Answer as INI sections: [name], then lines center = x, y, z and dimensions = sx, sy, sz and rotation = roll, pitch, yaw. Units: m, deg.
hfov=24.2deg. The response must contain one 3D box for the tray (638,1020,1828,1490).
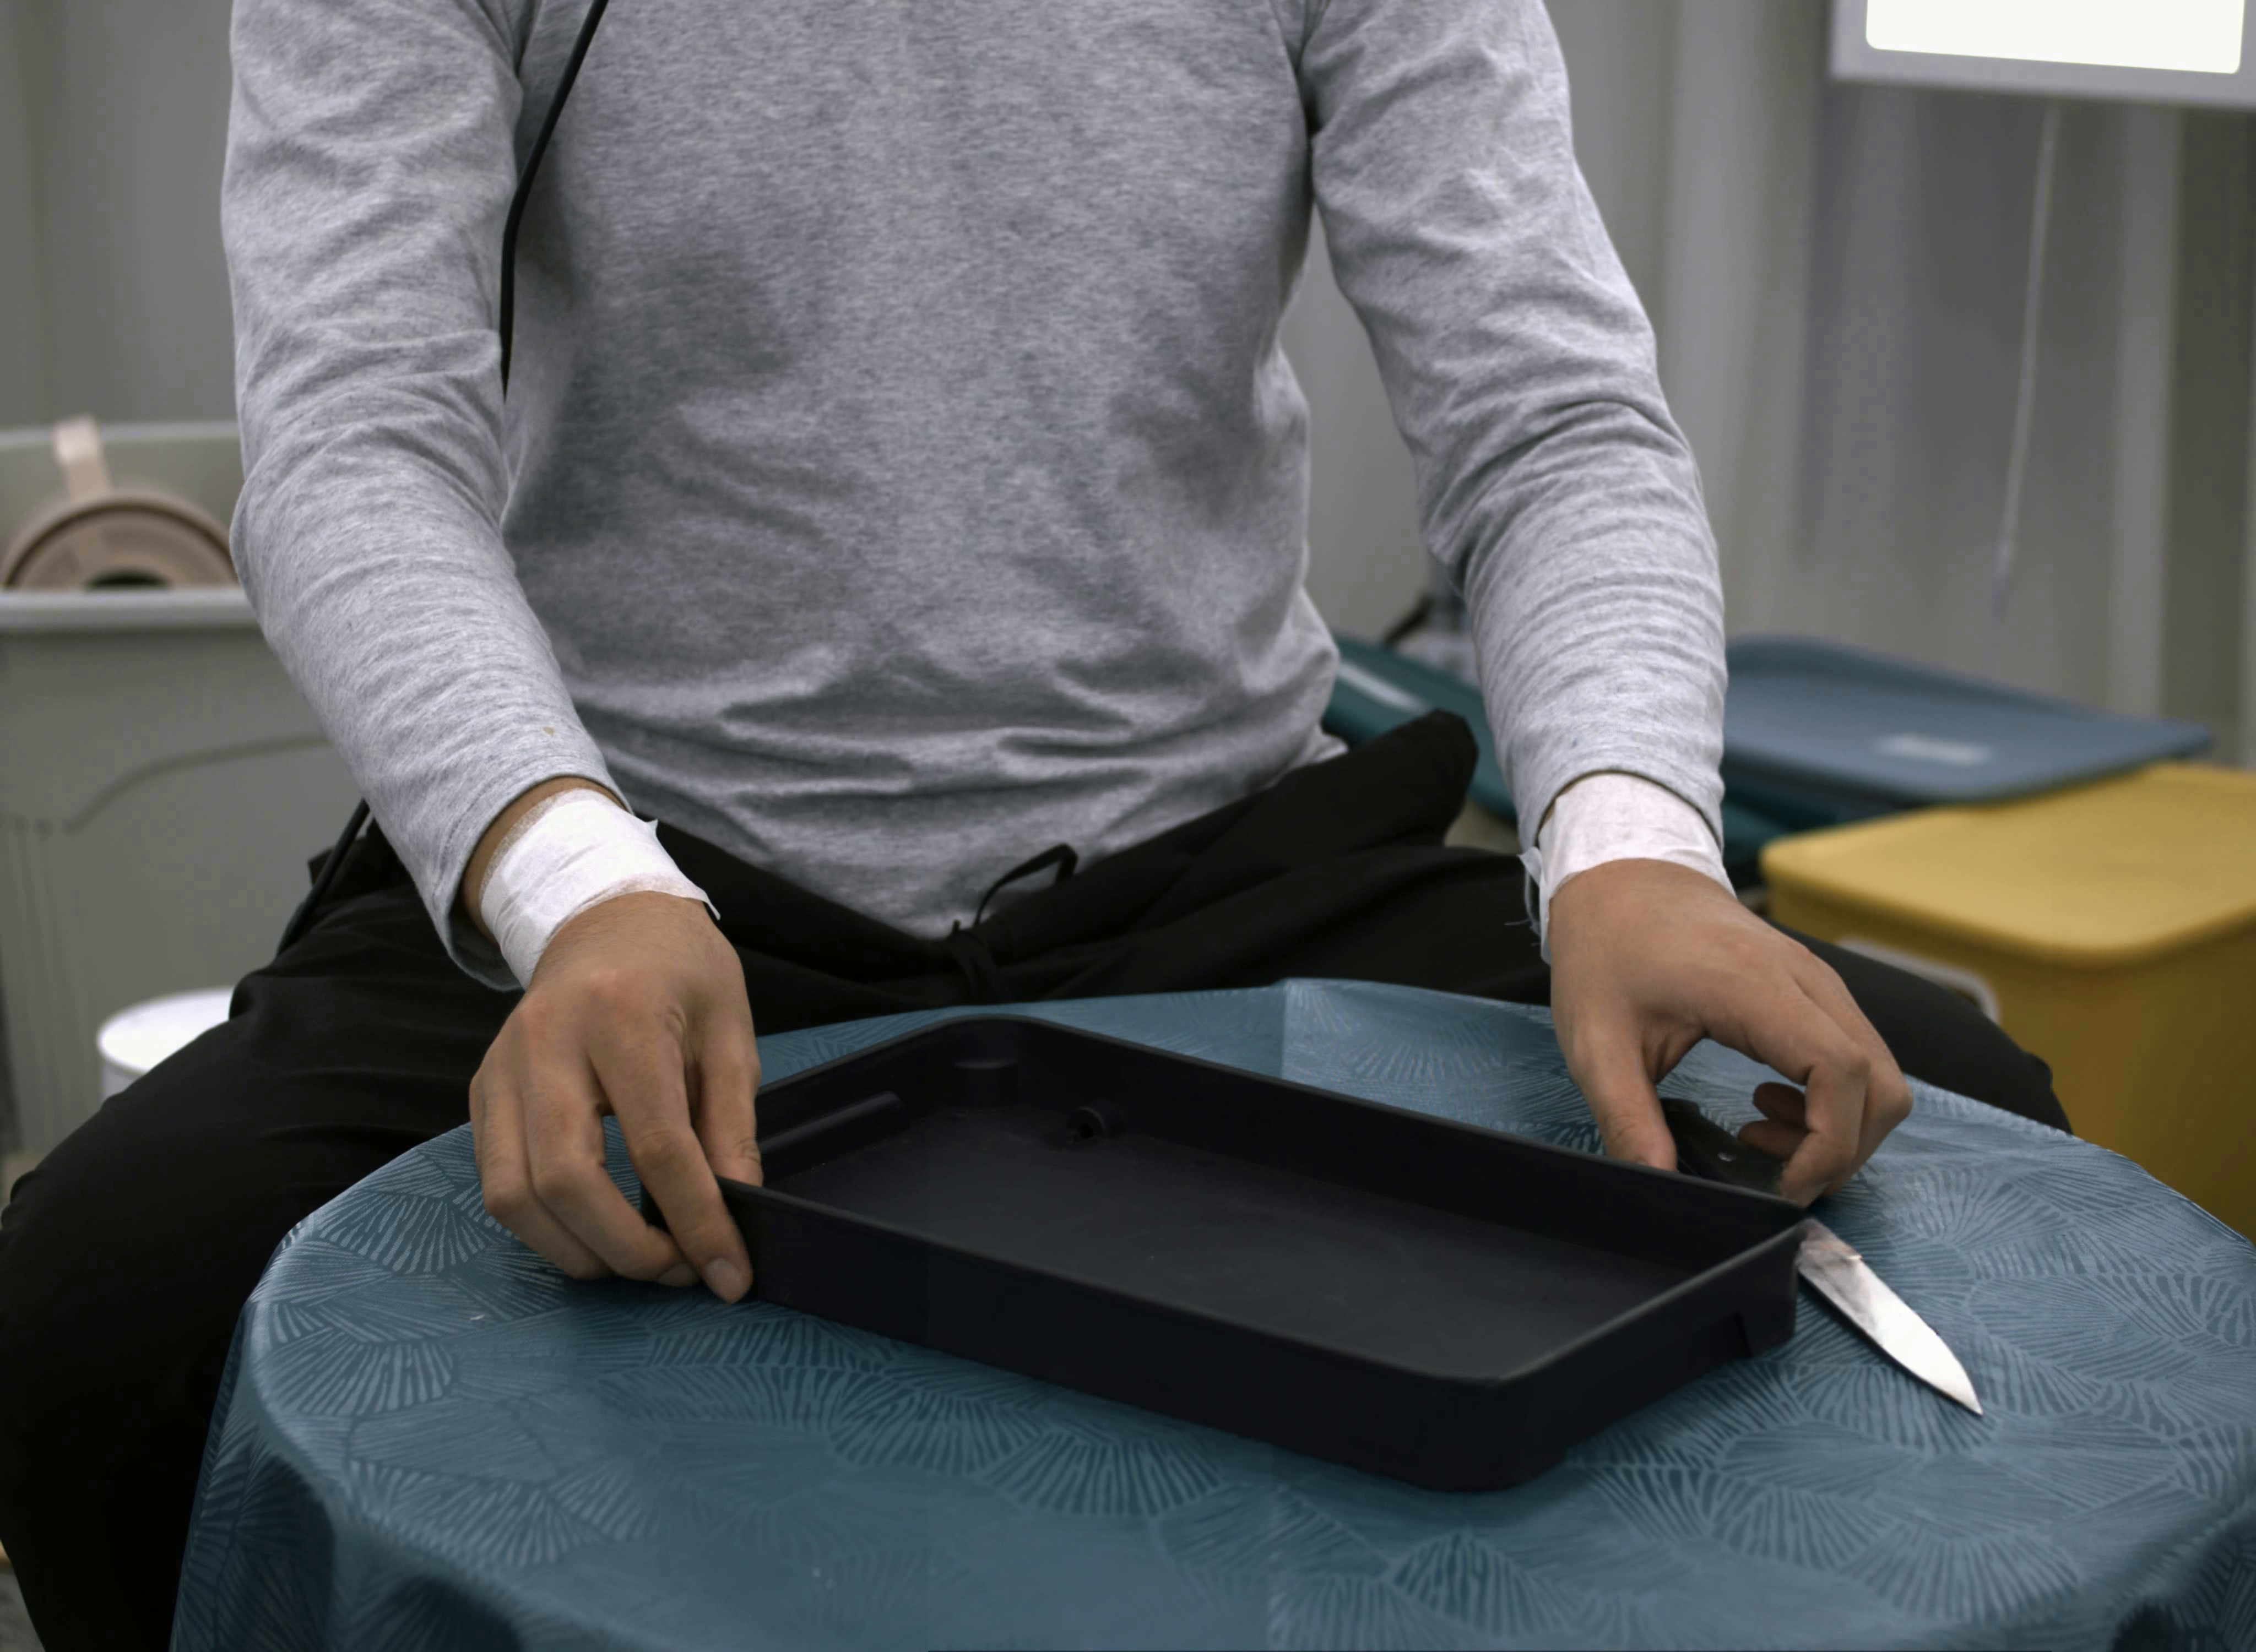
[tray]
center = 0.028, 0.119, 1.533
dimensions = 0.314, 0.037, 0.185
rotation = 11, 18, 34

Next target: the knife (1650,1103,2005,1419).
[knife]
center = 0.203, 0.128, 1.556
dimensions = 0.024, 0.016, 0.235
rotation = -2, 18, -17
